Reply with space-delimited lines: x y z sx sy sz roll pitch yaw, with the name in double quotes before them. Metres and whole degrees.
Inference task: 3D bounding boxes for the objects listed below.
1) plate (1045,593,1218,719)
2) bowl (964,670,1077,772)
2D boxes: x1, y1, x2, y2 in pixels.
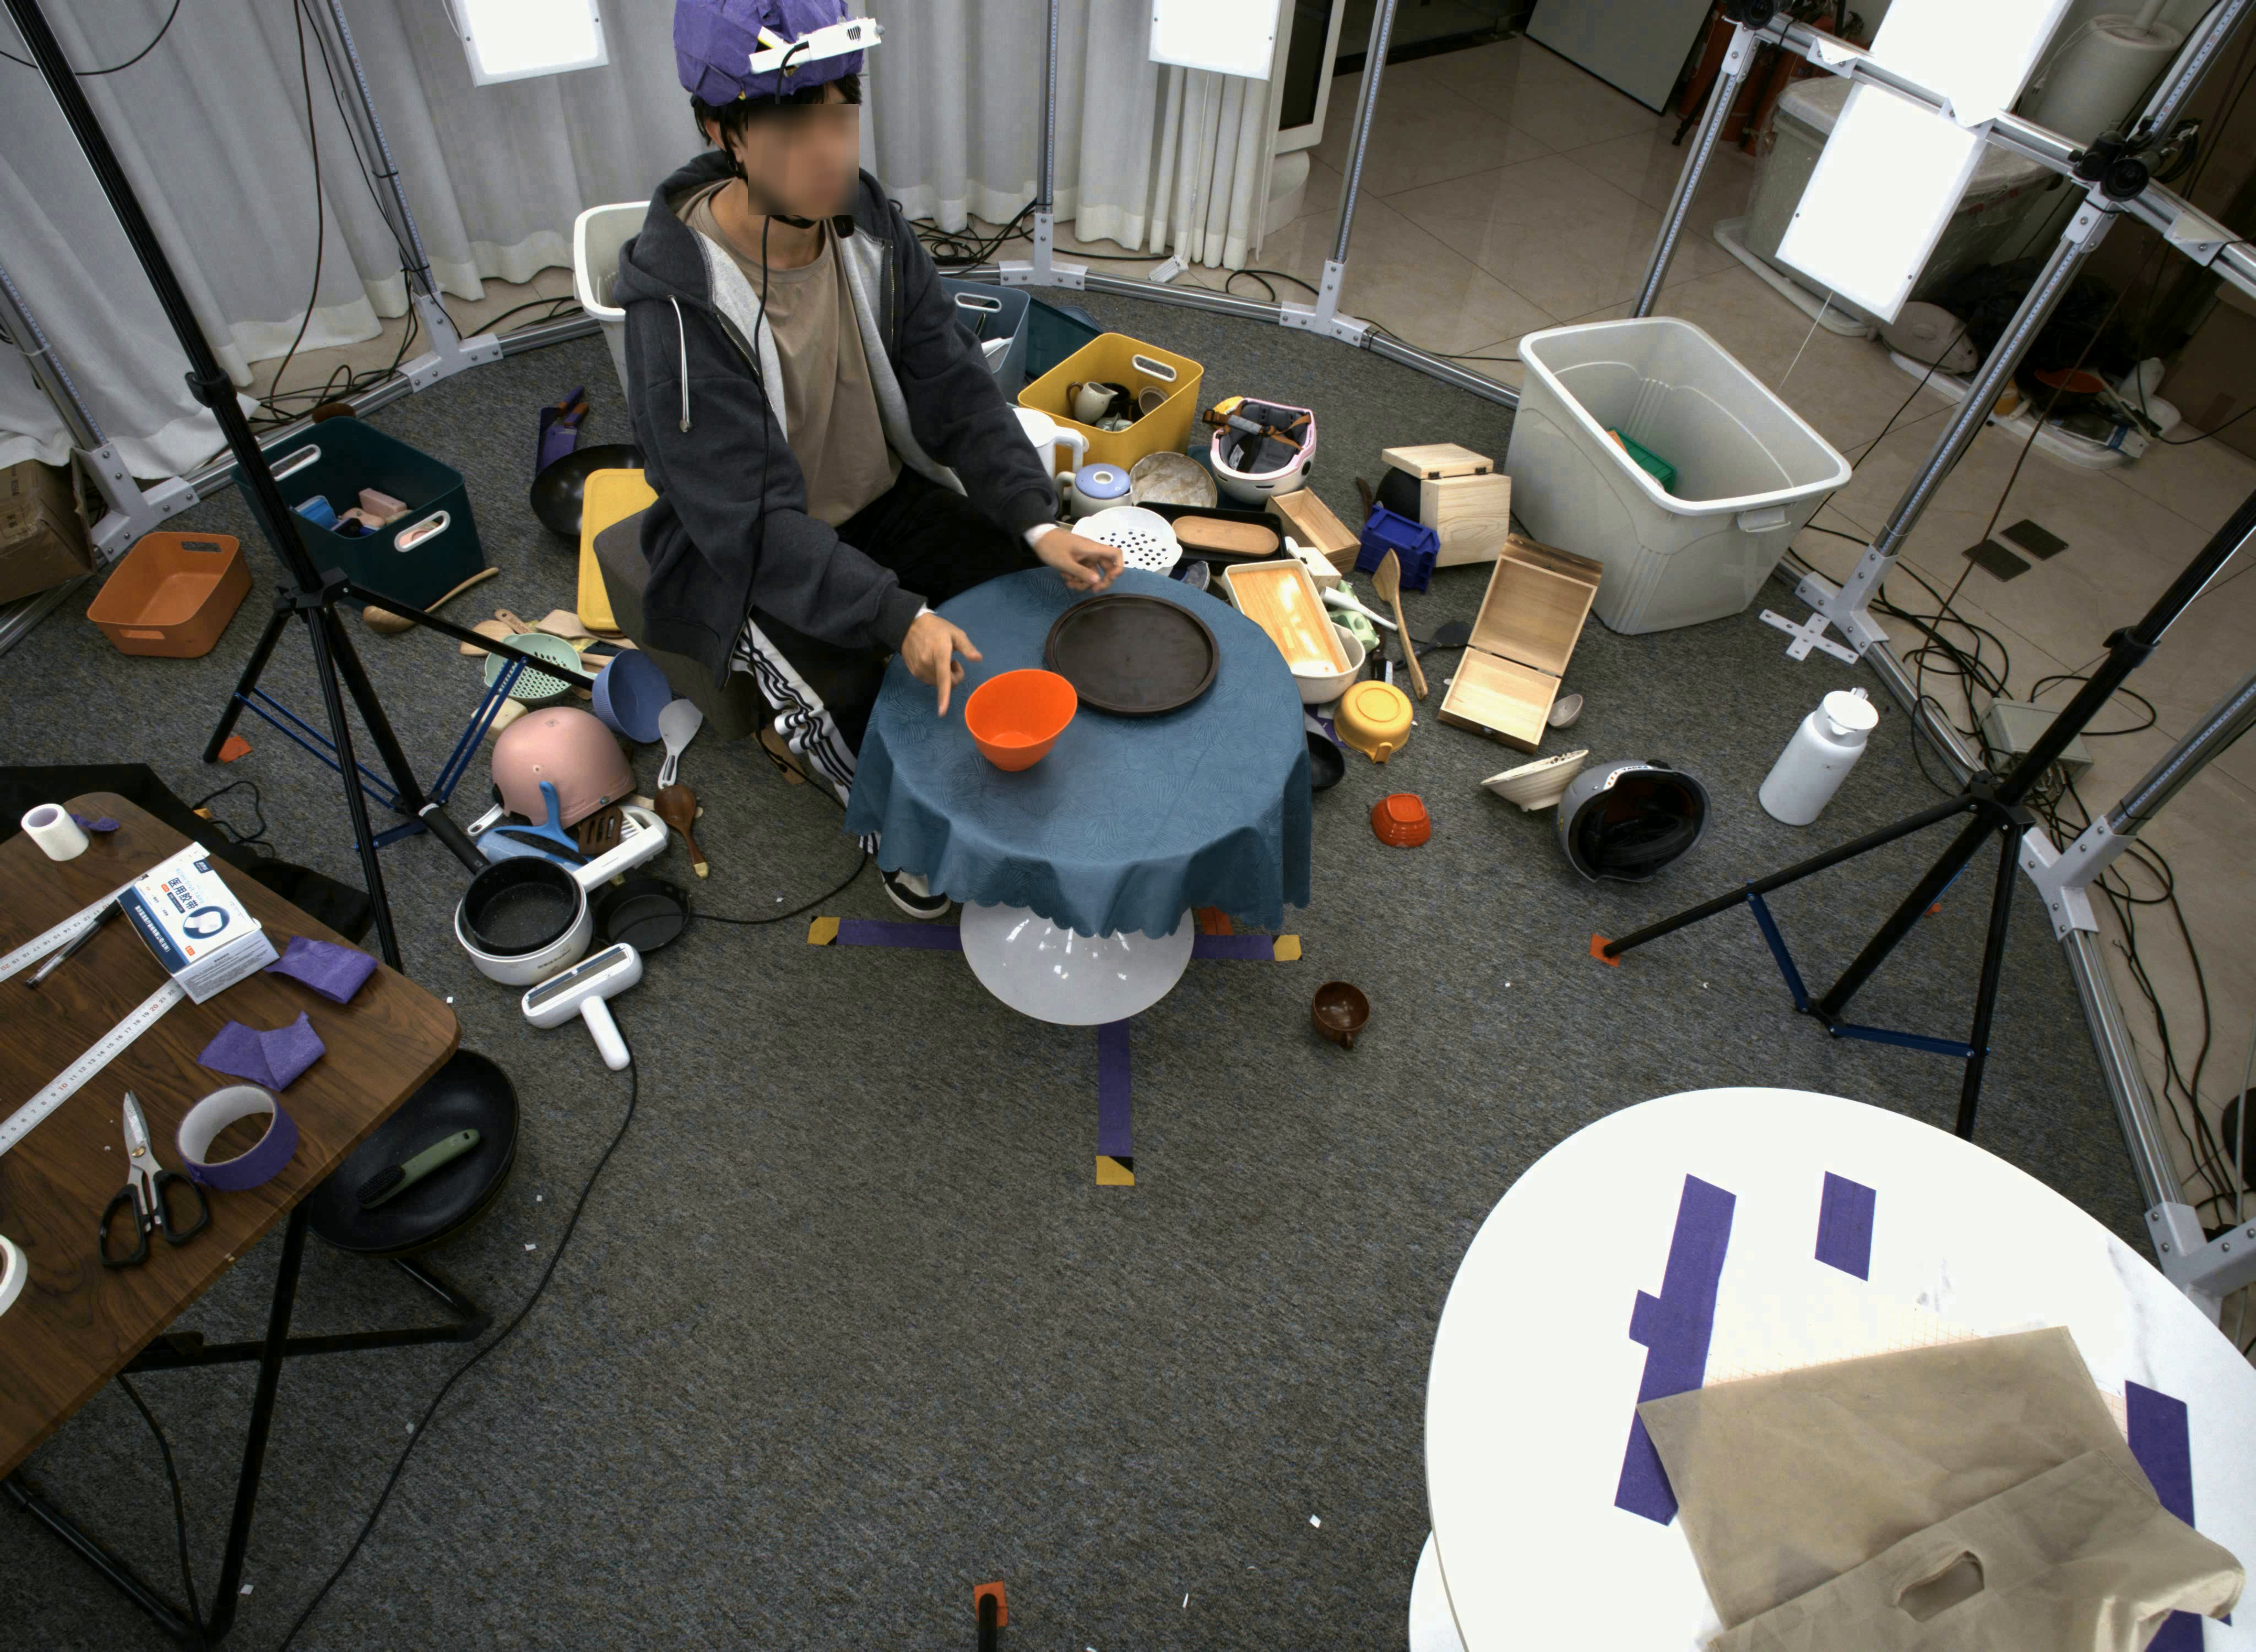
"plate" 0.006 -0.249 1.868 0.254 0.028 0.261 1 50 -2
"bowl" -0.143 -0.128 1.702 0.148 0.102 0.152 2 50 -2
